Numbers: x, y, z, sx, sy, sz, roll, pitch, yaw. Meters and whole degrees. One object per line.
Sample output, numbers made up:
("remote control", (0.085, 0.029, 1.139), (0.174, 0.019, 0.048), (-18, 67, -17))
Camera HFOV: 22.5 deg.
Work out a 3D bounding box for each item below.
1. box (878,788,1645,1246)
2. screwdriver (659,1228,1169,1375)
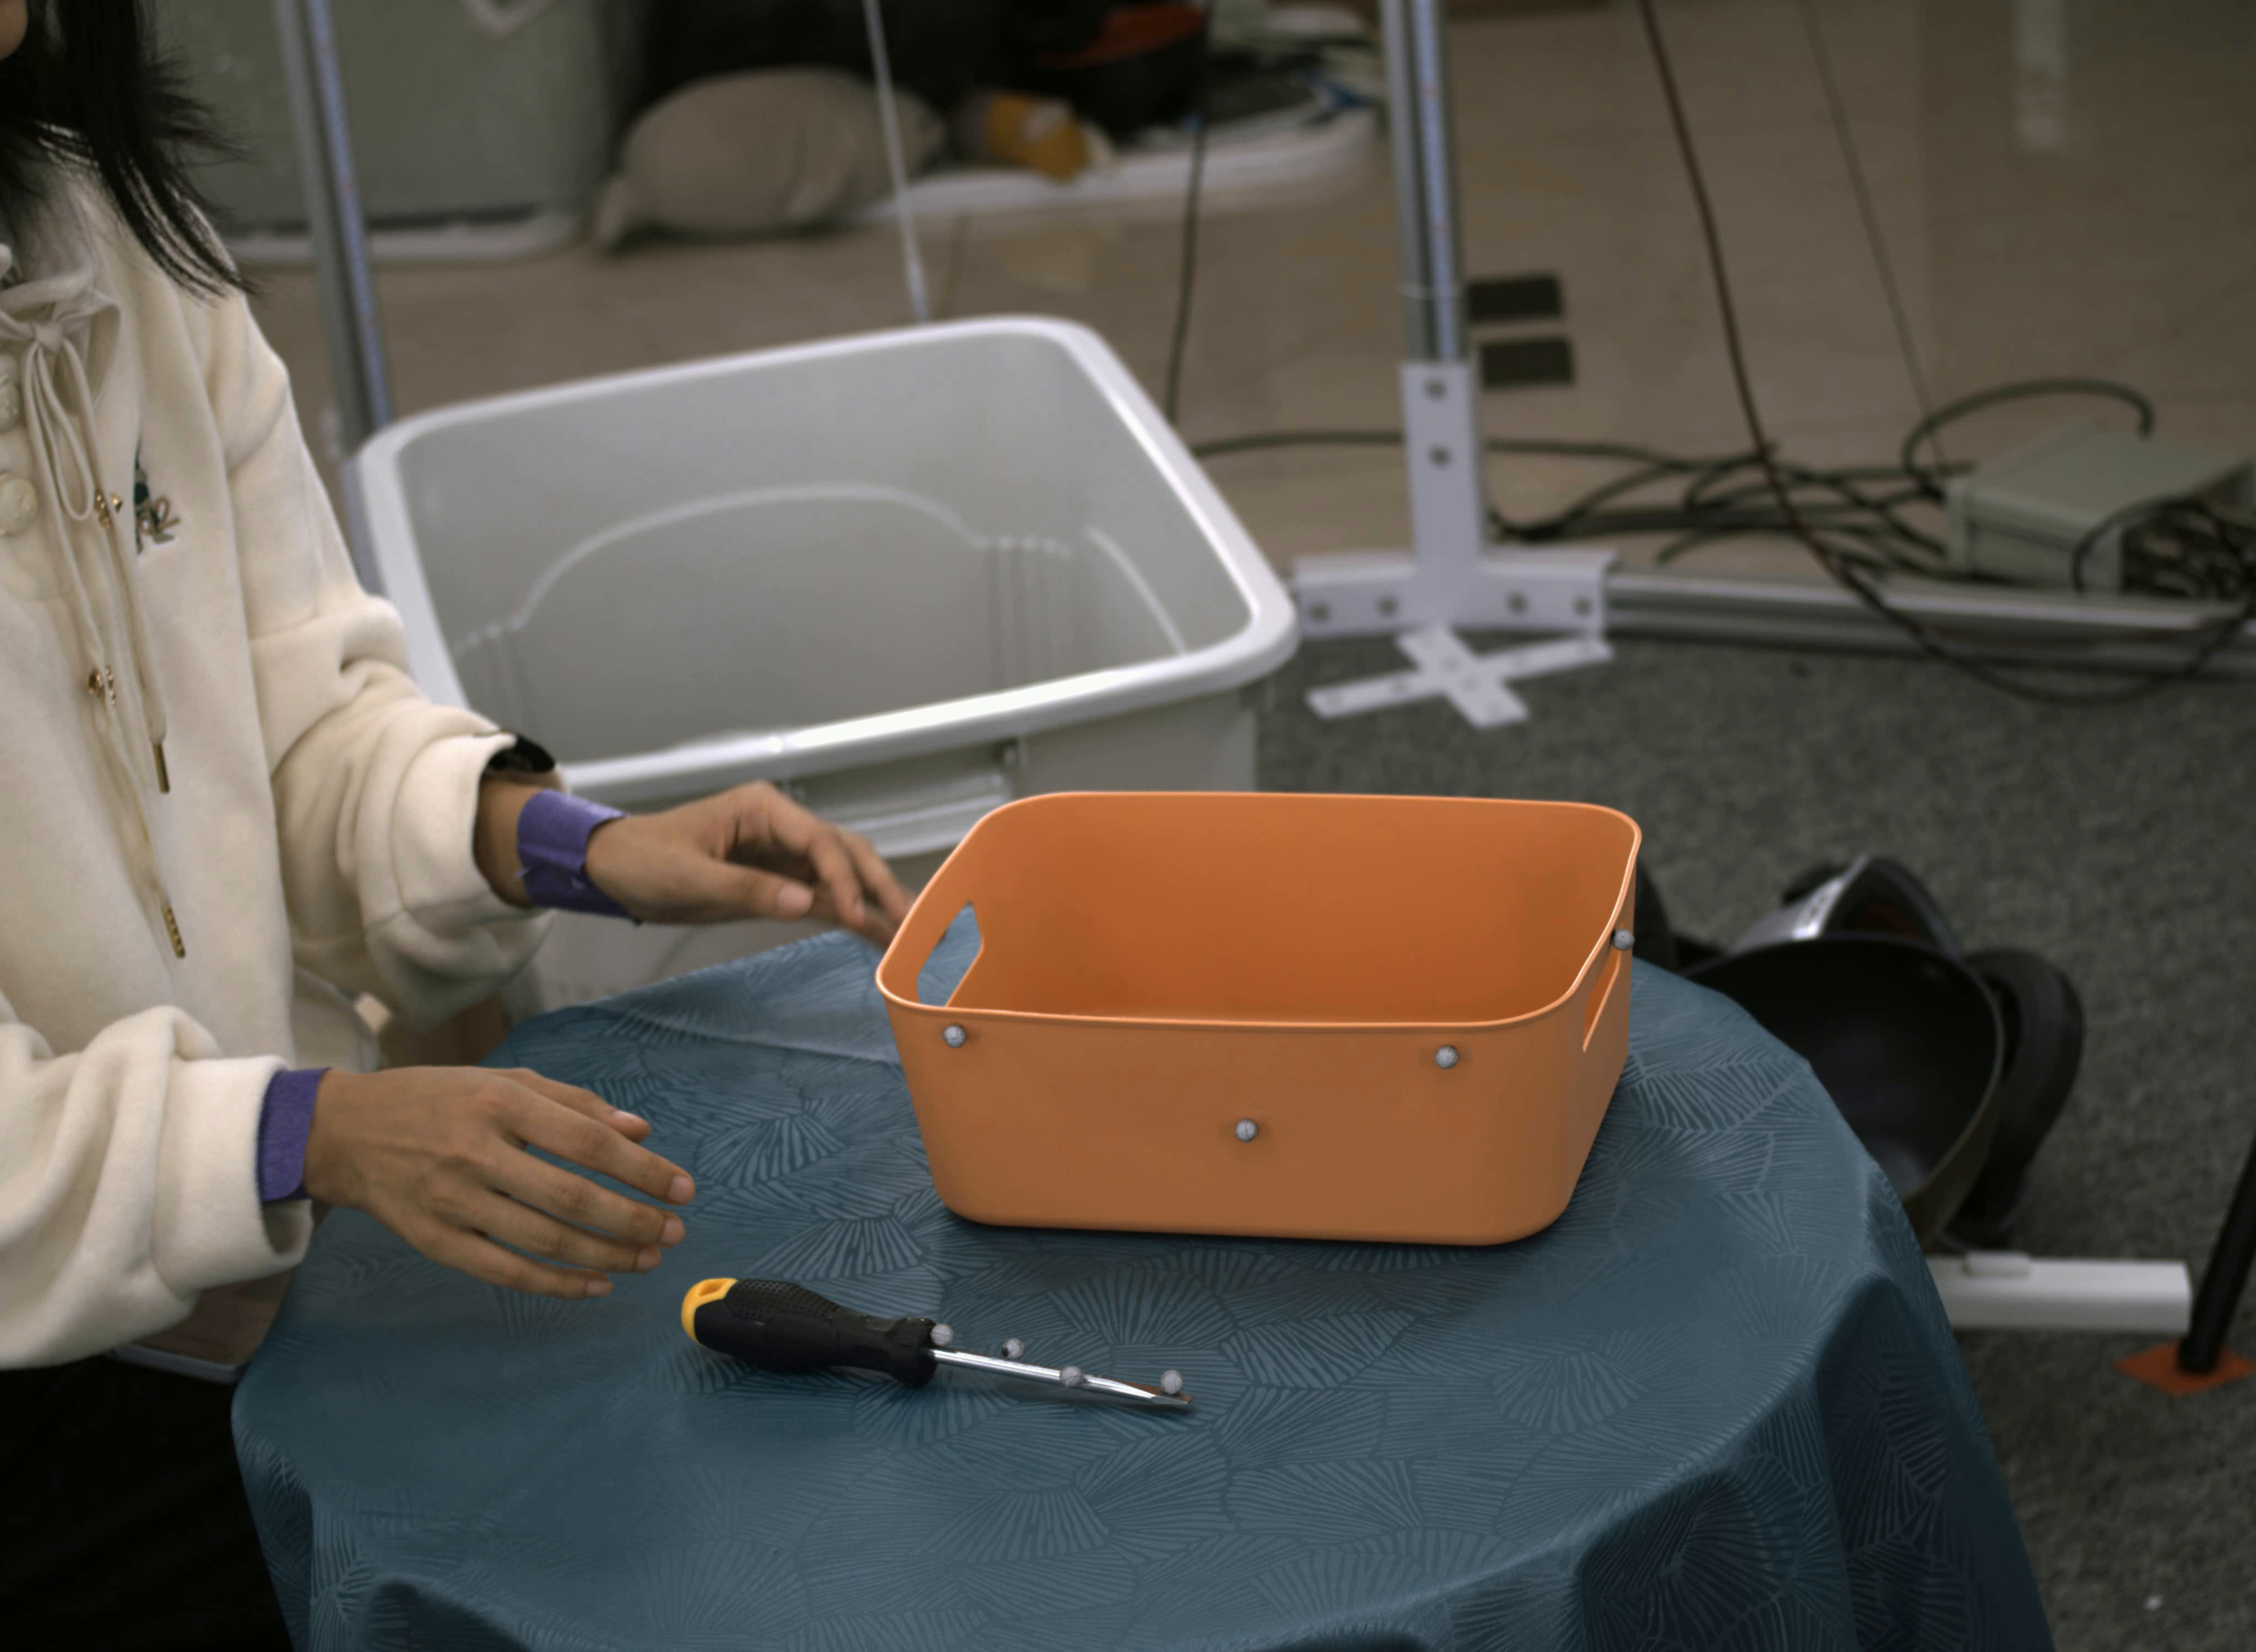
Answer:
("box", (0.057, 0.072, 2.152), (0.272, 0.104, 0.196), (2, 27, 16))
("screwdriver", (-0.076, 0.174, 2.036), (0.197, 0.032, 0.031), (11, 29, 16))
